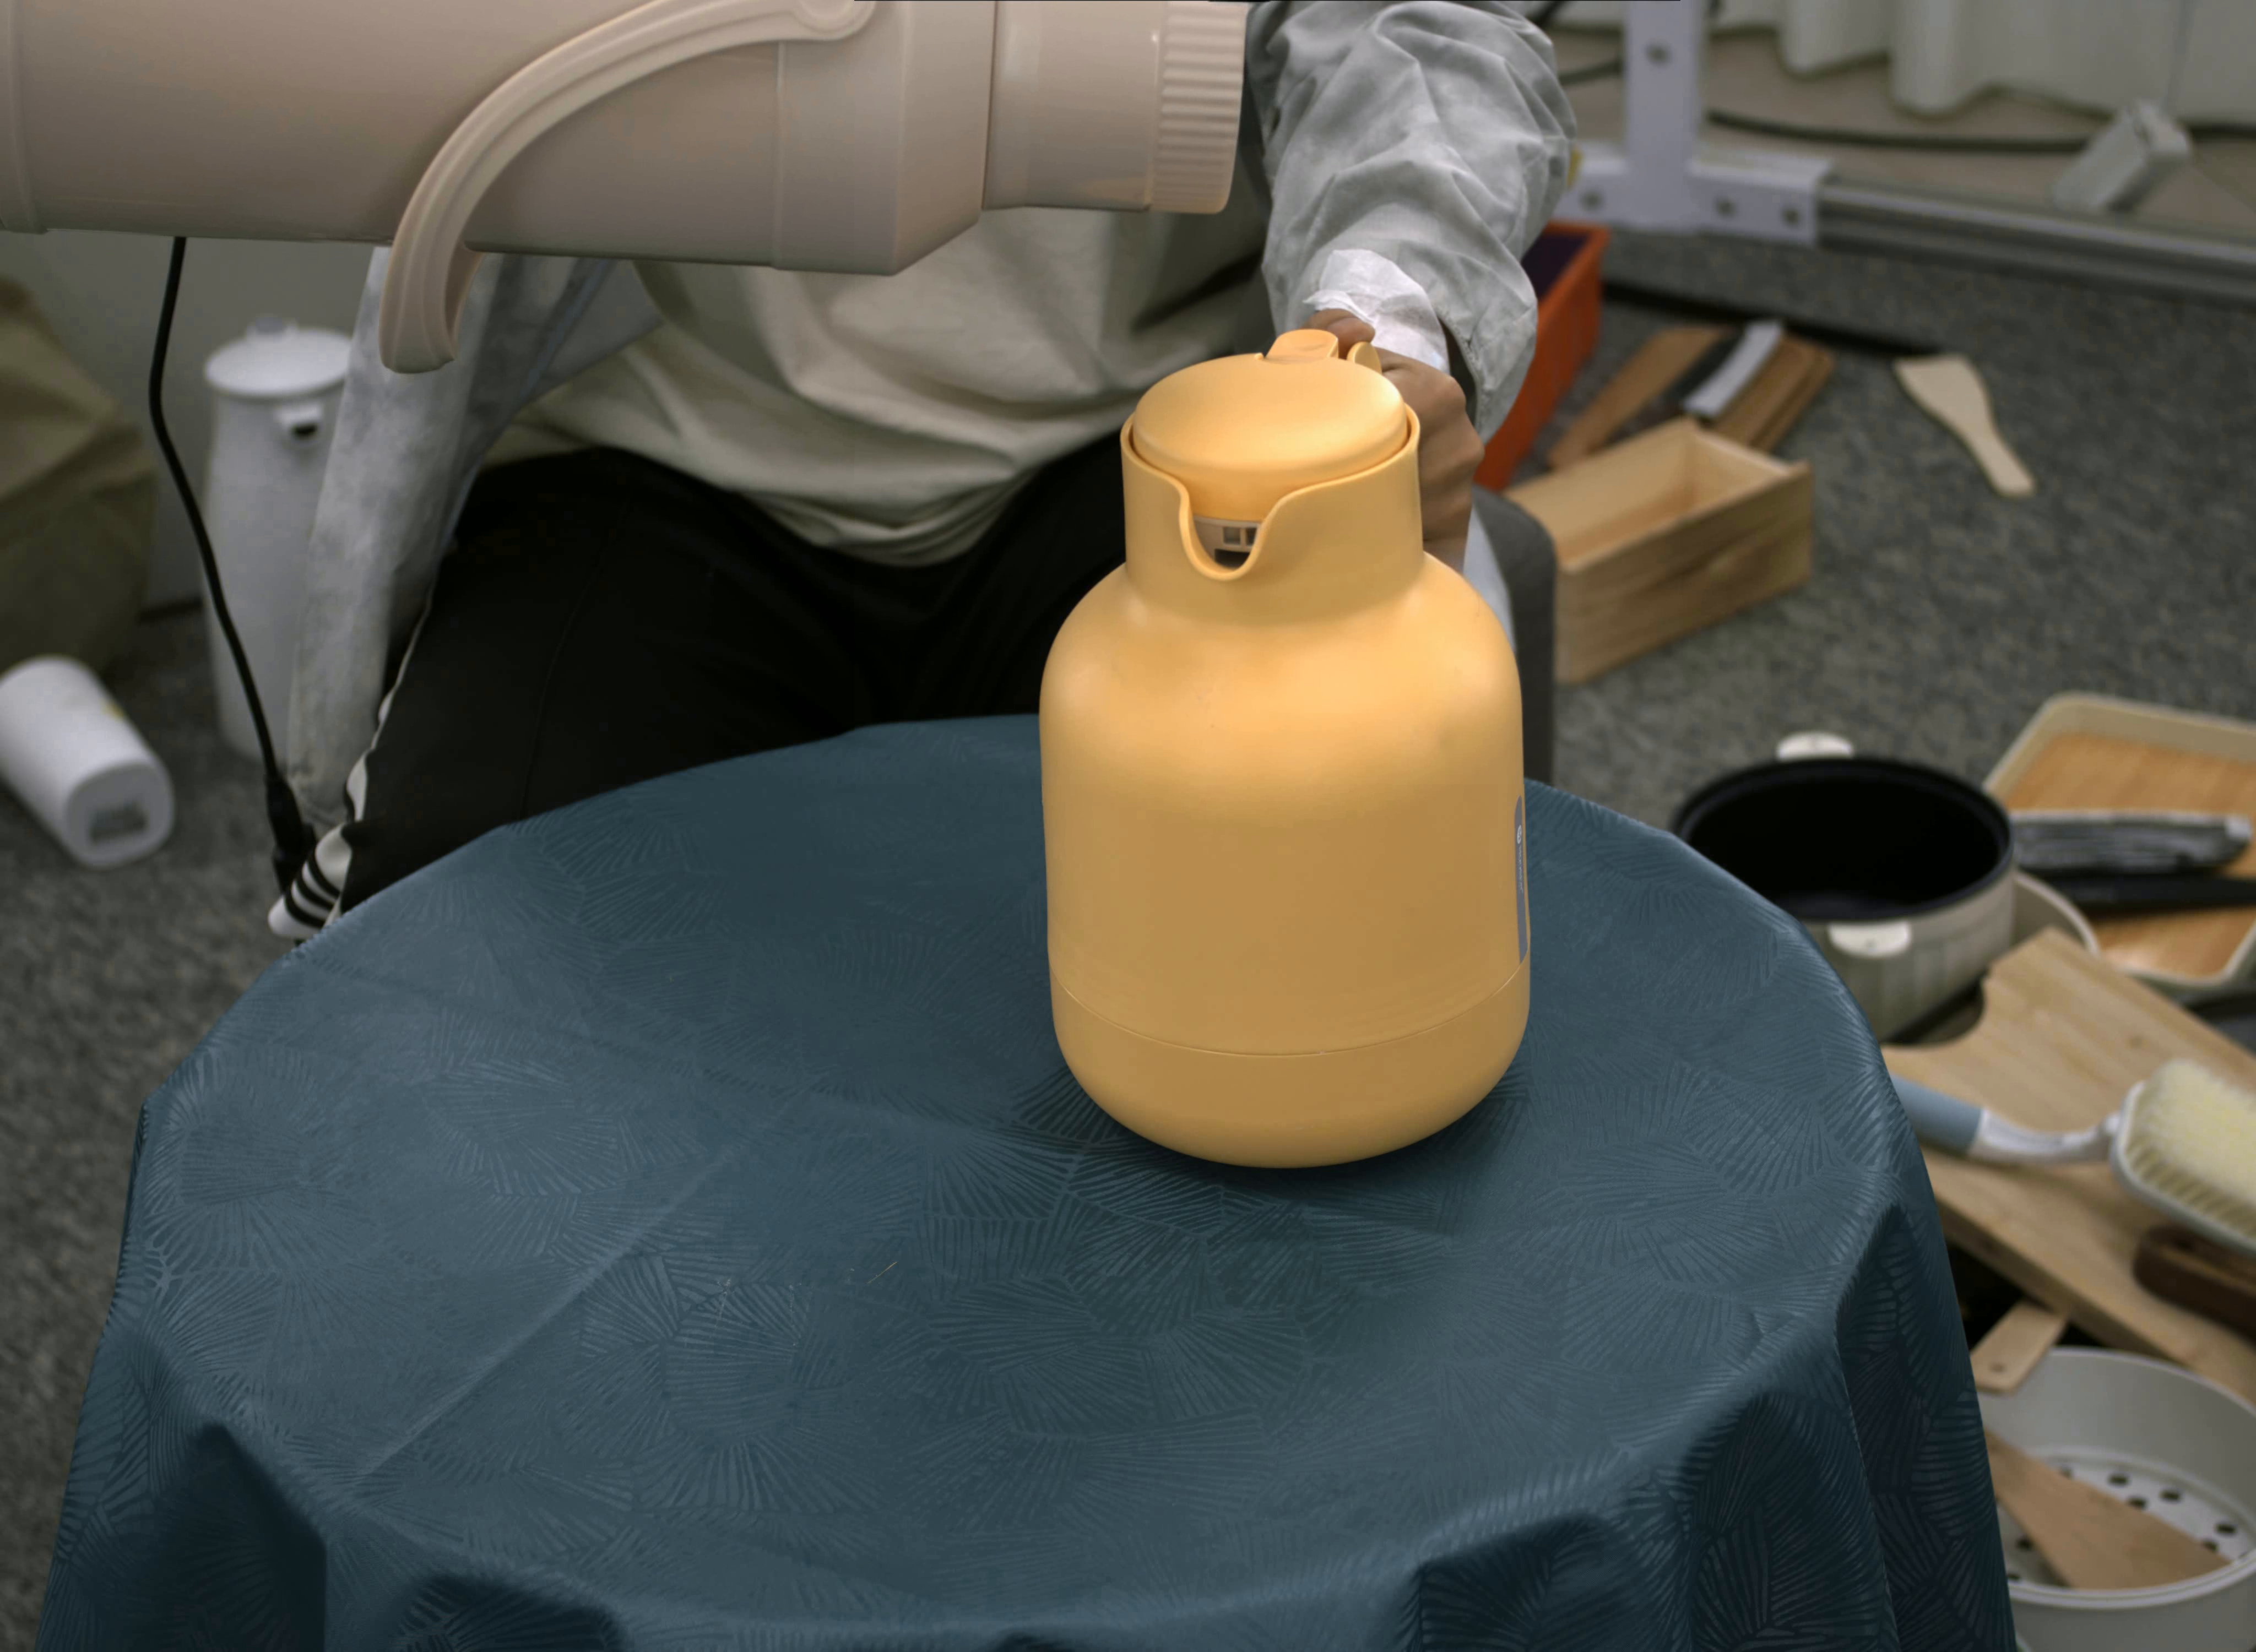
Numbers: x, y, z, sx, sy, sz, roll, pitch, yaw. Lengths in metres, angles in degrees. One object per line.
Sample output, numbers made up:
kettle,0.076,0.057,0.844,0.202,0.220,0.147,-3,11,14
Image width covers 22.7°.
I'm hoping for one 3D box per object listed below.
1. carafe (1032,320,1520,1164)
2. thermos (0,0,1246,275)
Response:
carafe,0.055,-0.037,1.881,0.162,0.257,0.206,7,29,14
thermos,-0.166,-0.271,1.759,0.404,0.208,0.175,3,1,-2
